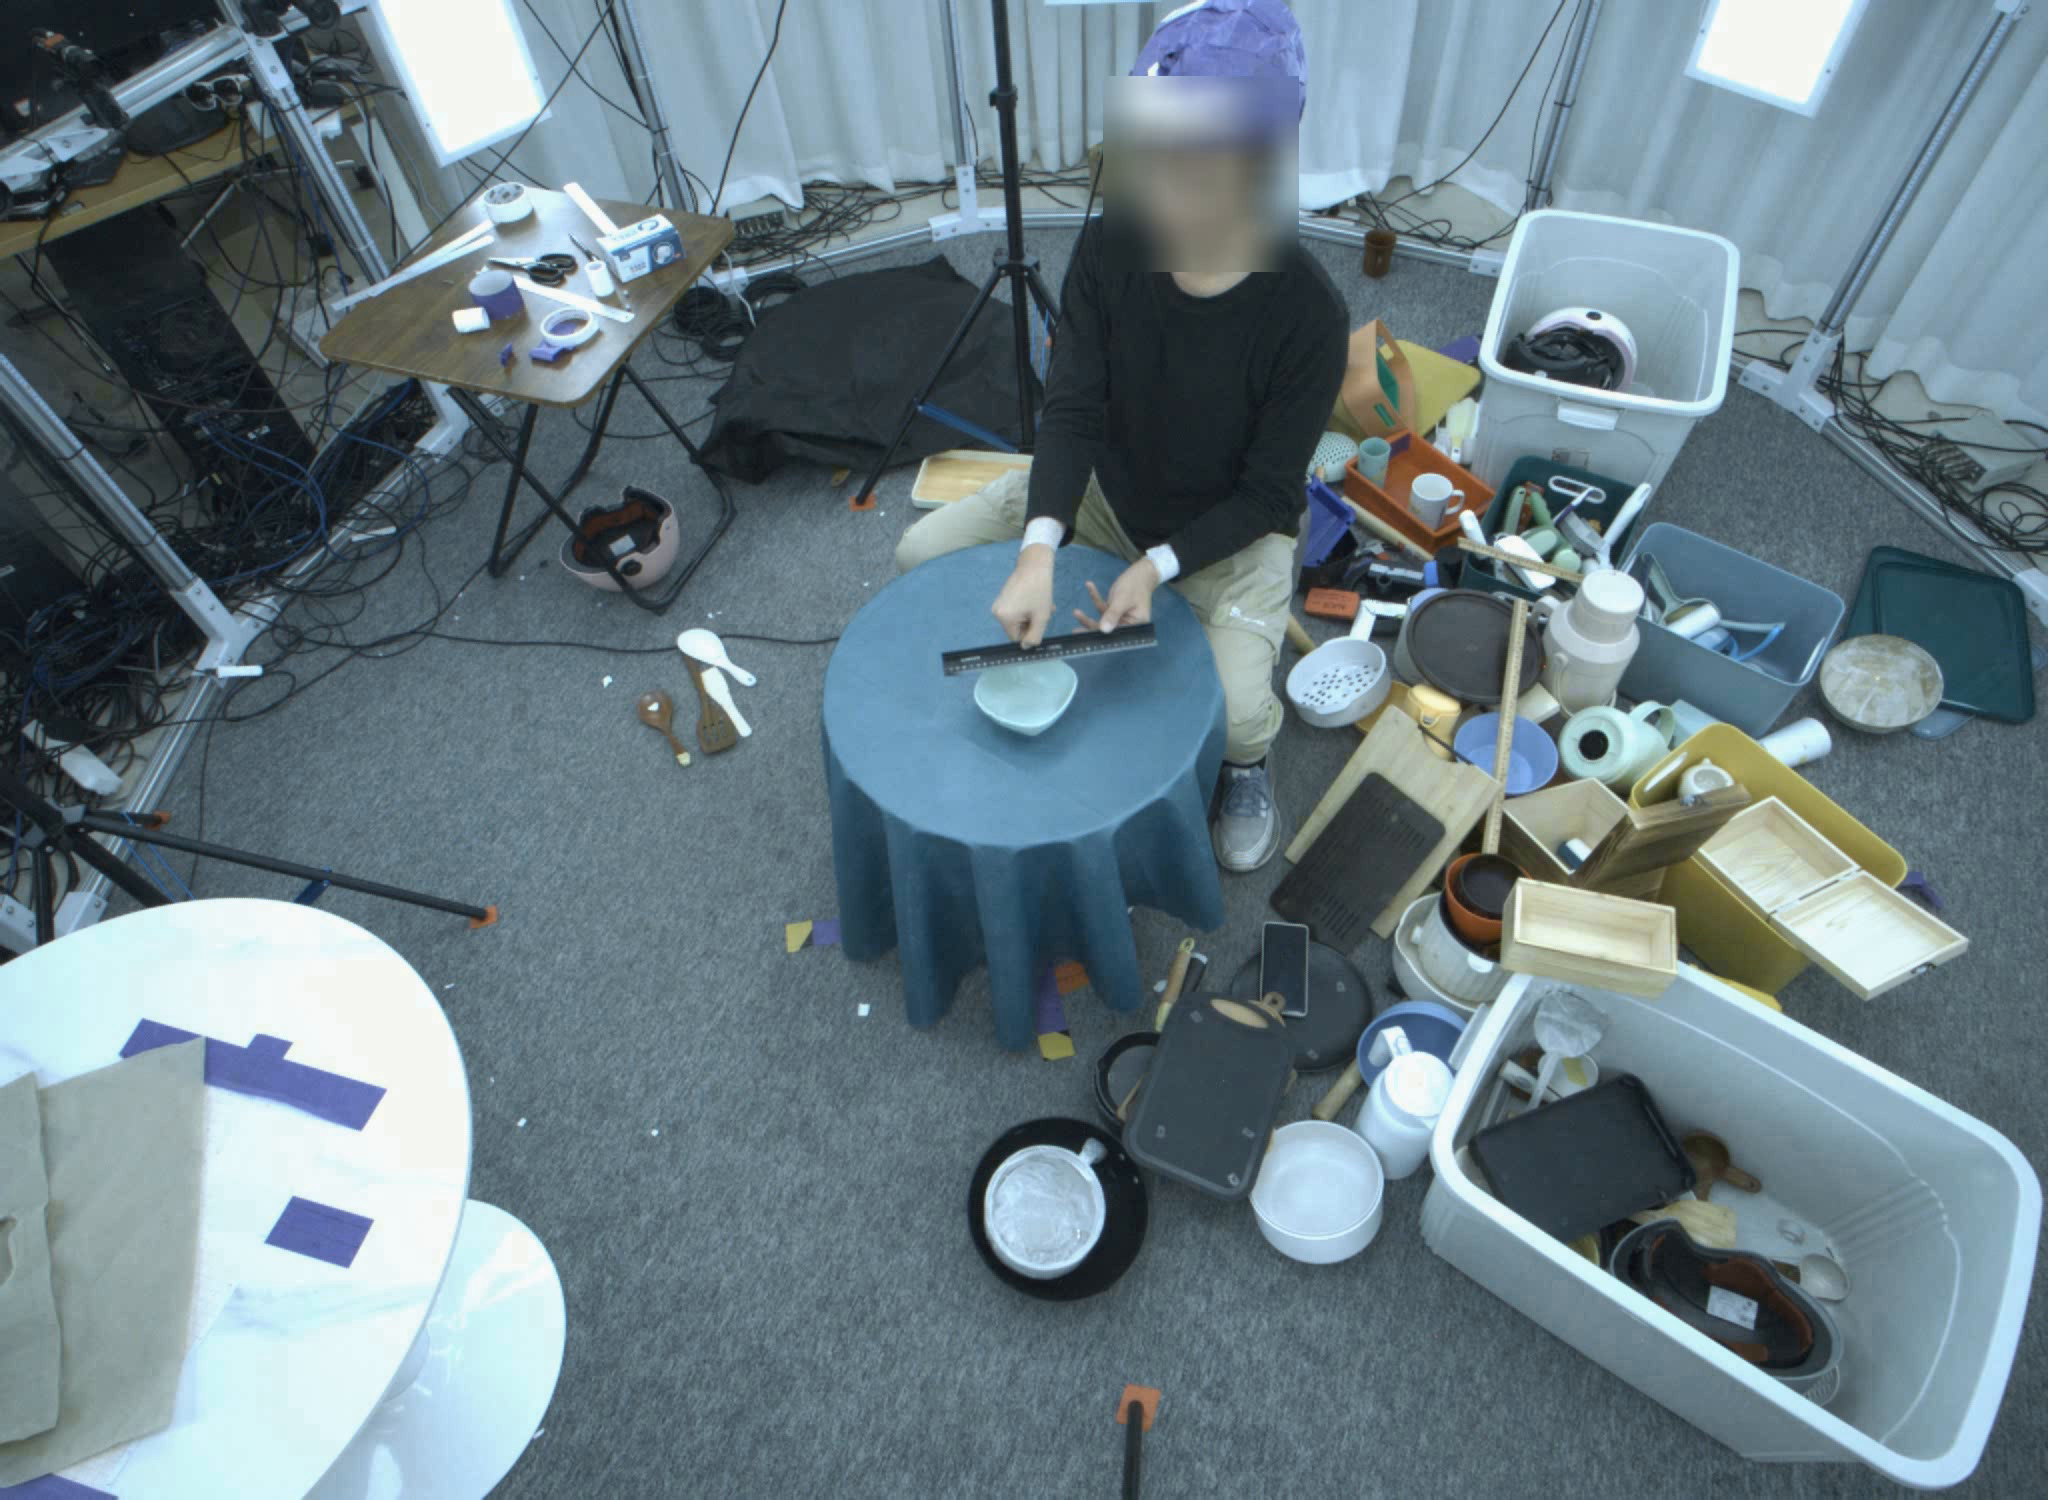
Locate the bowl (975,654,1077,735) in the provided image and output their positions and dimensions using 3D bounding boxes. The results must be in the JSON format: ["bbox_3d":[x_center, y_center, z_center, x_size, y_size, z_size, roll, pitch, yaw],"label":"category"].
[{"bbox_3d":[0.005,-0.077,1.808,0.151,0.059,0.150,-1,56,3],"label":"bowl"}]

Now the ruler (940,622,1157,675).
[{"bbox_3d":[0.035,-0.148,1.769,0.313,0.017,0.039,-8,65,-4],"label":"ruler"}]
